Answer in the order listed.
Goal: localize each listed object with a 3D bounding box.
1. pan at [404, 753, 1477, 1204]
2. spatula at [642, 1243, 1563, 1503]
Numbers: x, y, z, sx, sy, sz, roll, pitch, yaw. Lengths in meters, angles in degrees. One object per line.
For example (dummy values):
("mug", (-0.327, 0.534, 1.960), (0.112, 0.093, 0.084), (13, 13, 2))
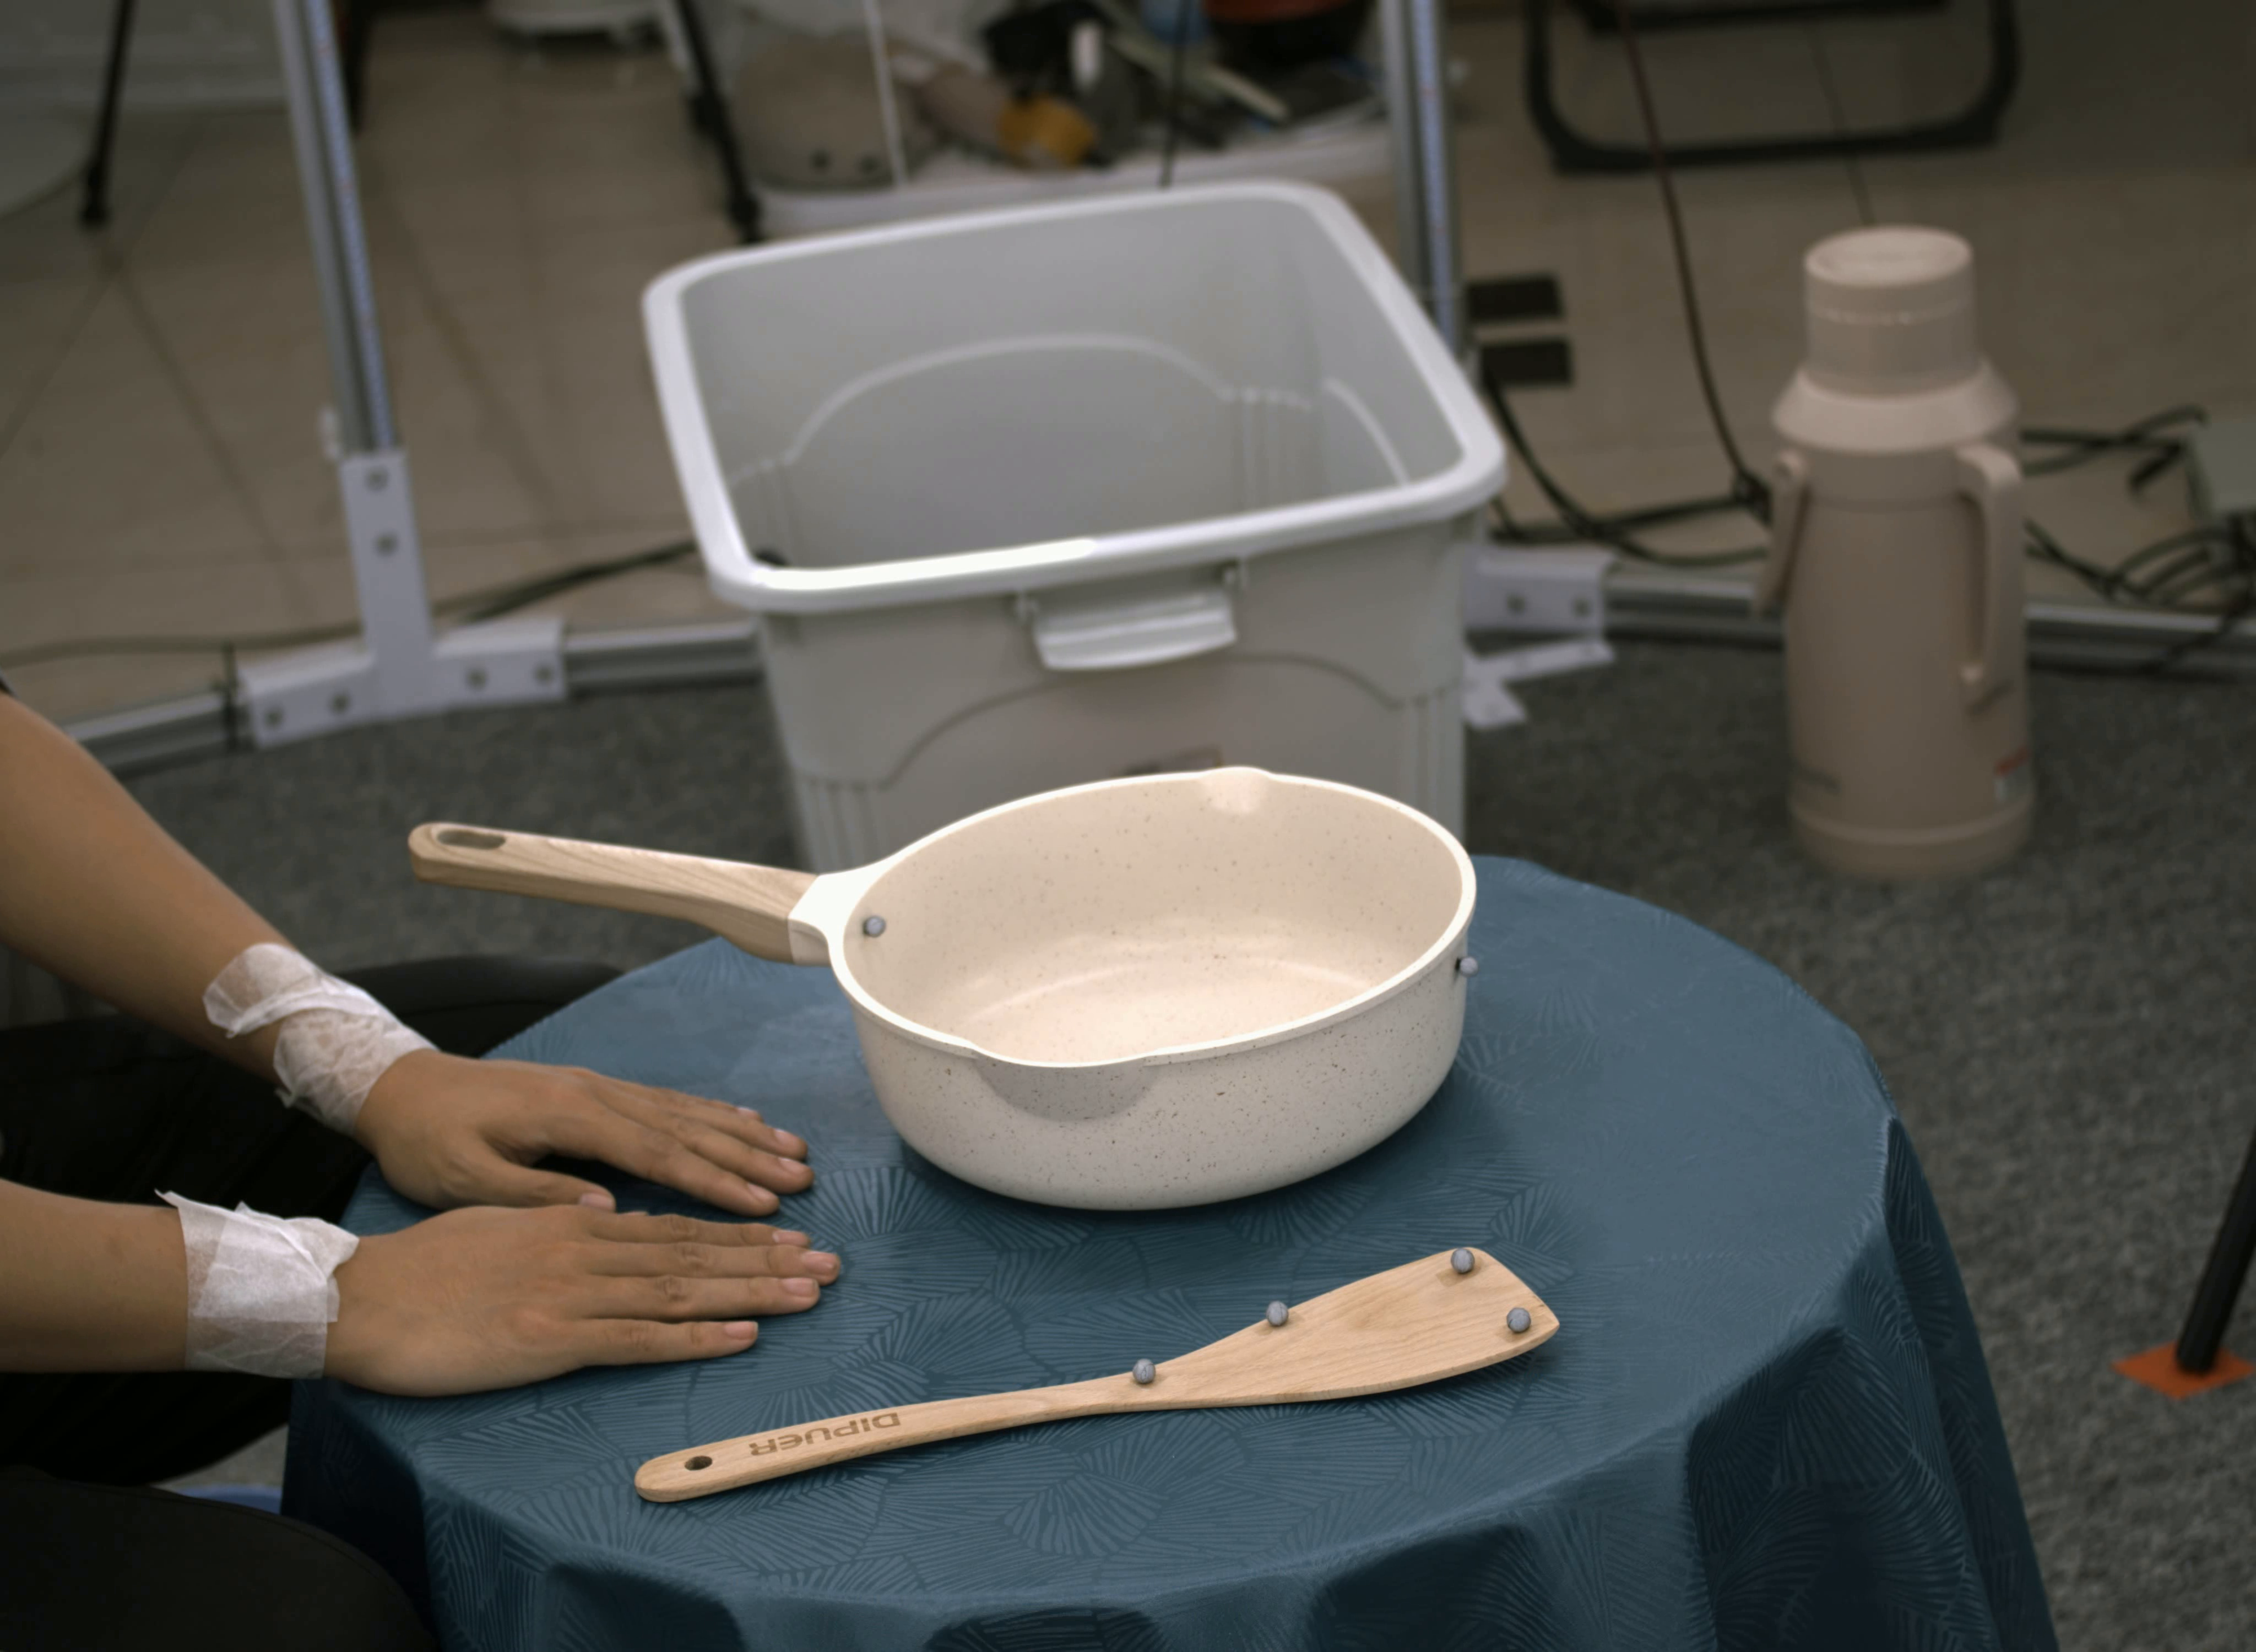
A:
("pan", (-0.075, 0.054, 2.229), (0.434, 0.103, 0.259), (2, 28, 17))
("spatula", (-0.011, 0.197, 2.009), (0.327, 0.017, 0.079), (-11, 25, -7))
